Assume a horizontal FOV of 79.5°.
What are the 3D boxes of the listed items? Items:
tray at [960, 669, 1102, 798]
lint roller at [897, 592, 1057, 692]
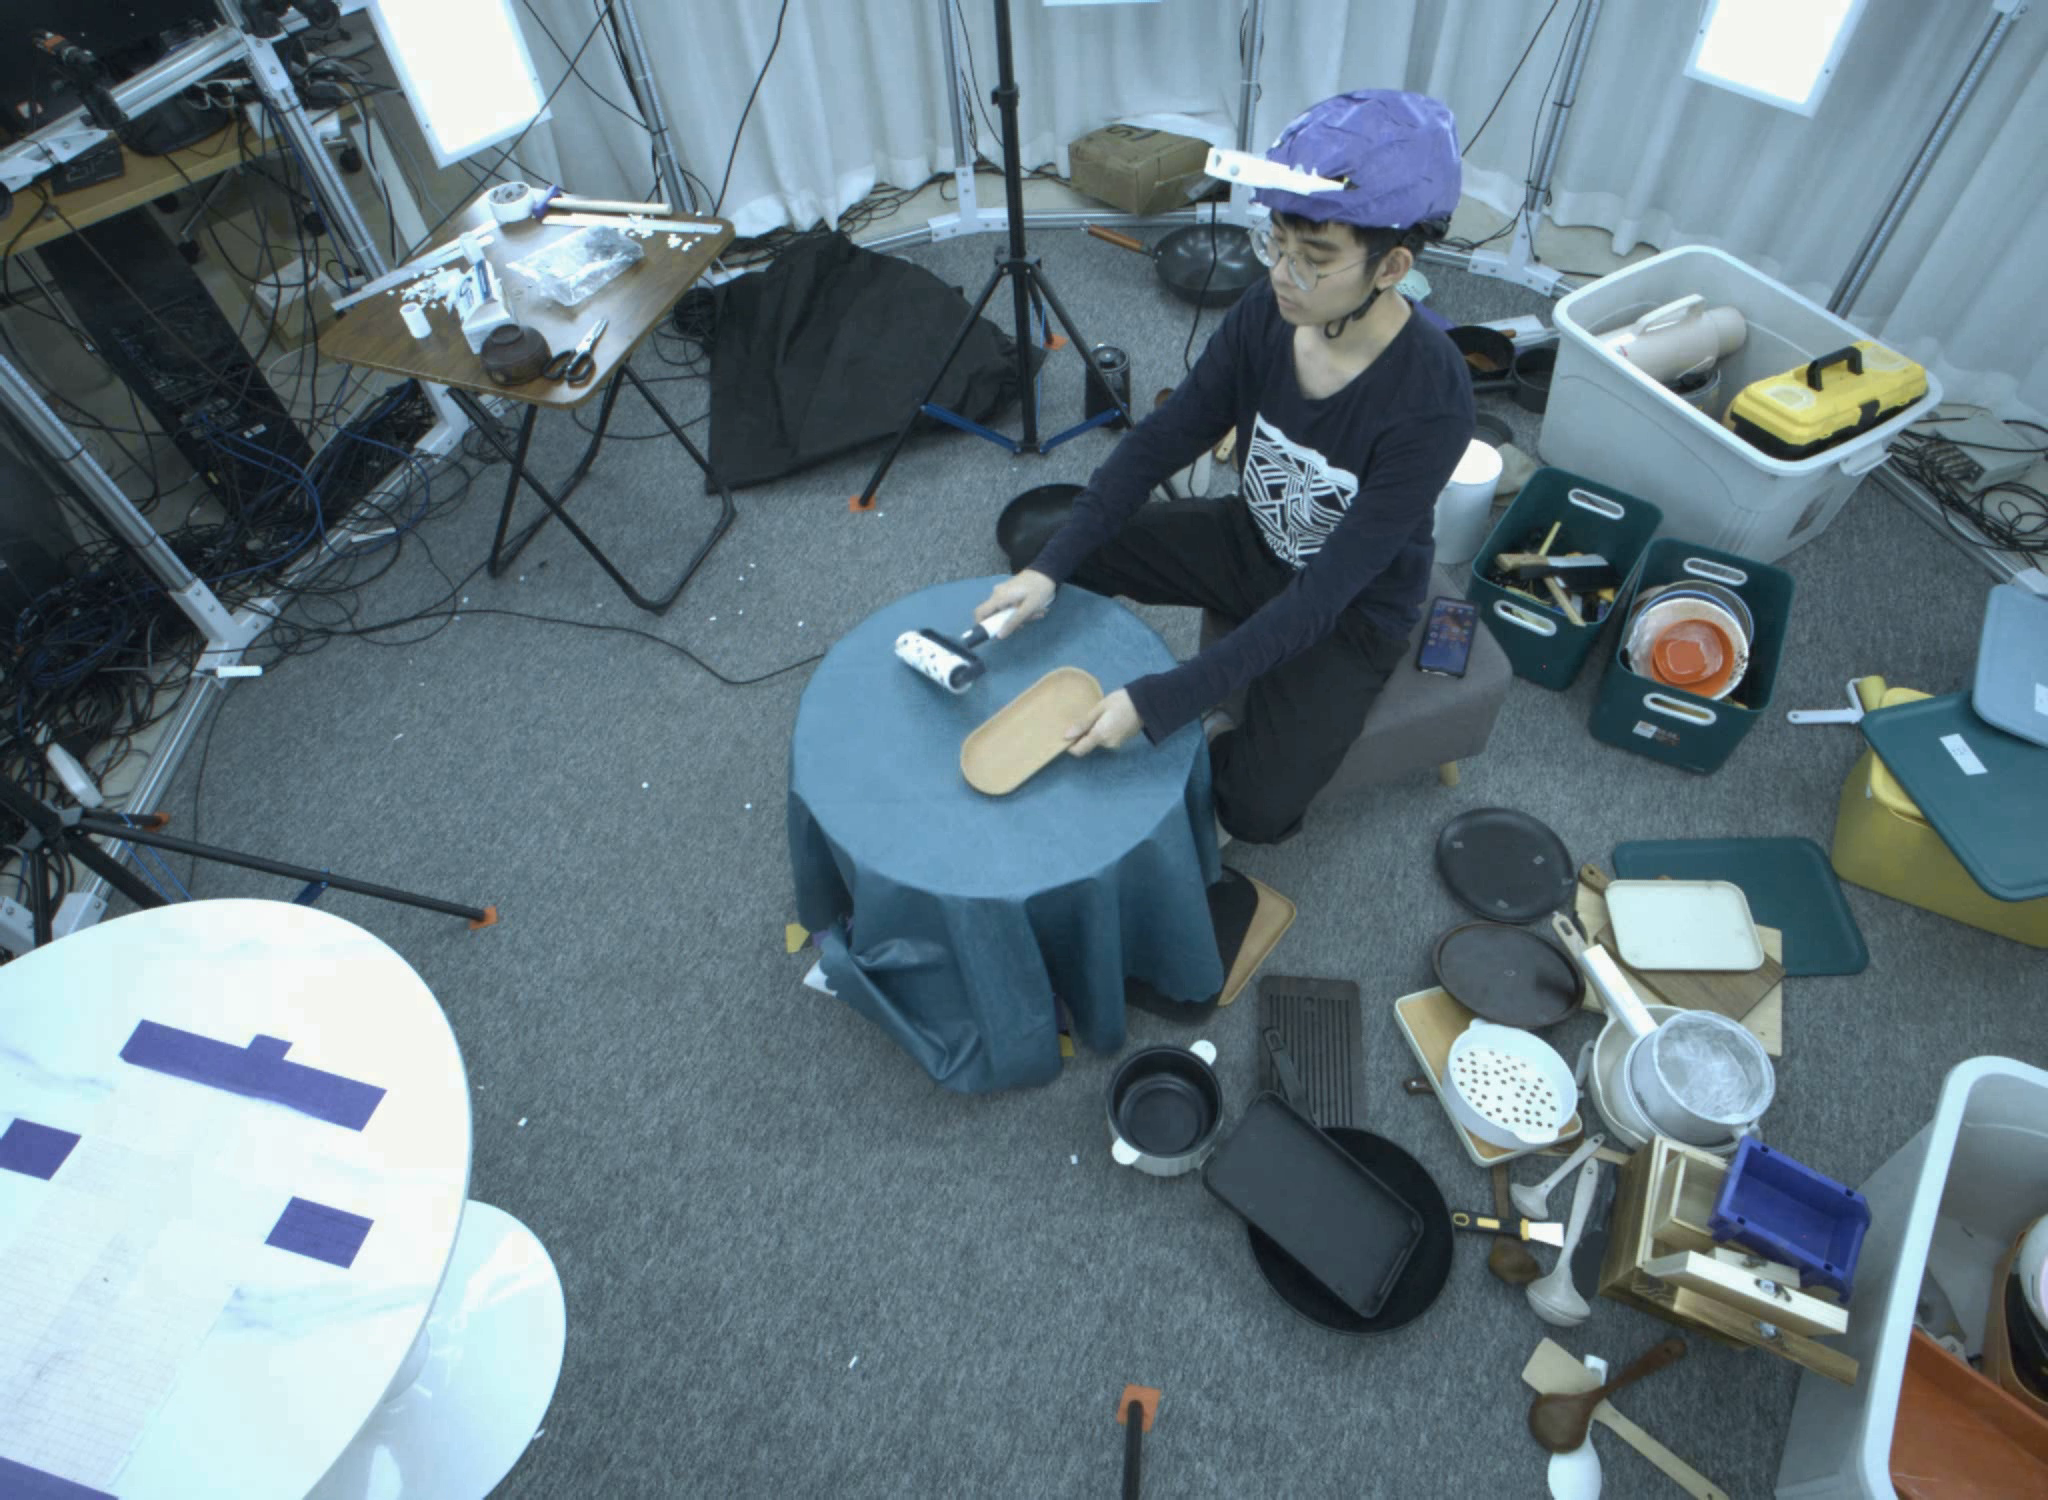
[{"bbox_3d":[0.010,-0.023,1.756,0.231,0.020,0.101,-40,81,-5],"label":"tray"},{"bbox_3d":[-0.055,-0.184,1.864,0.249,0.051,0.172,-33,38,-21],"label":"lint roller"}]
